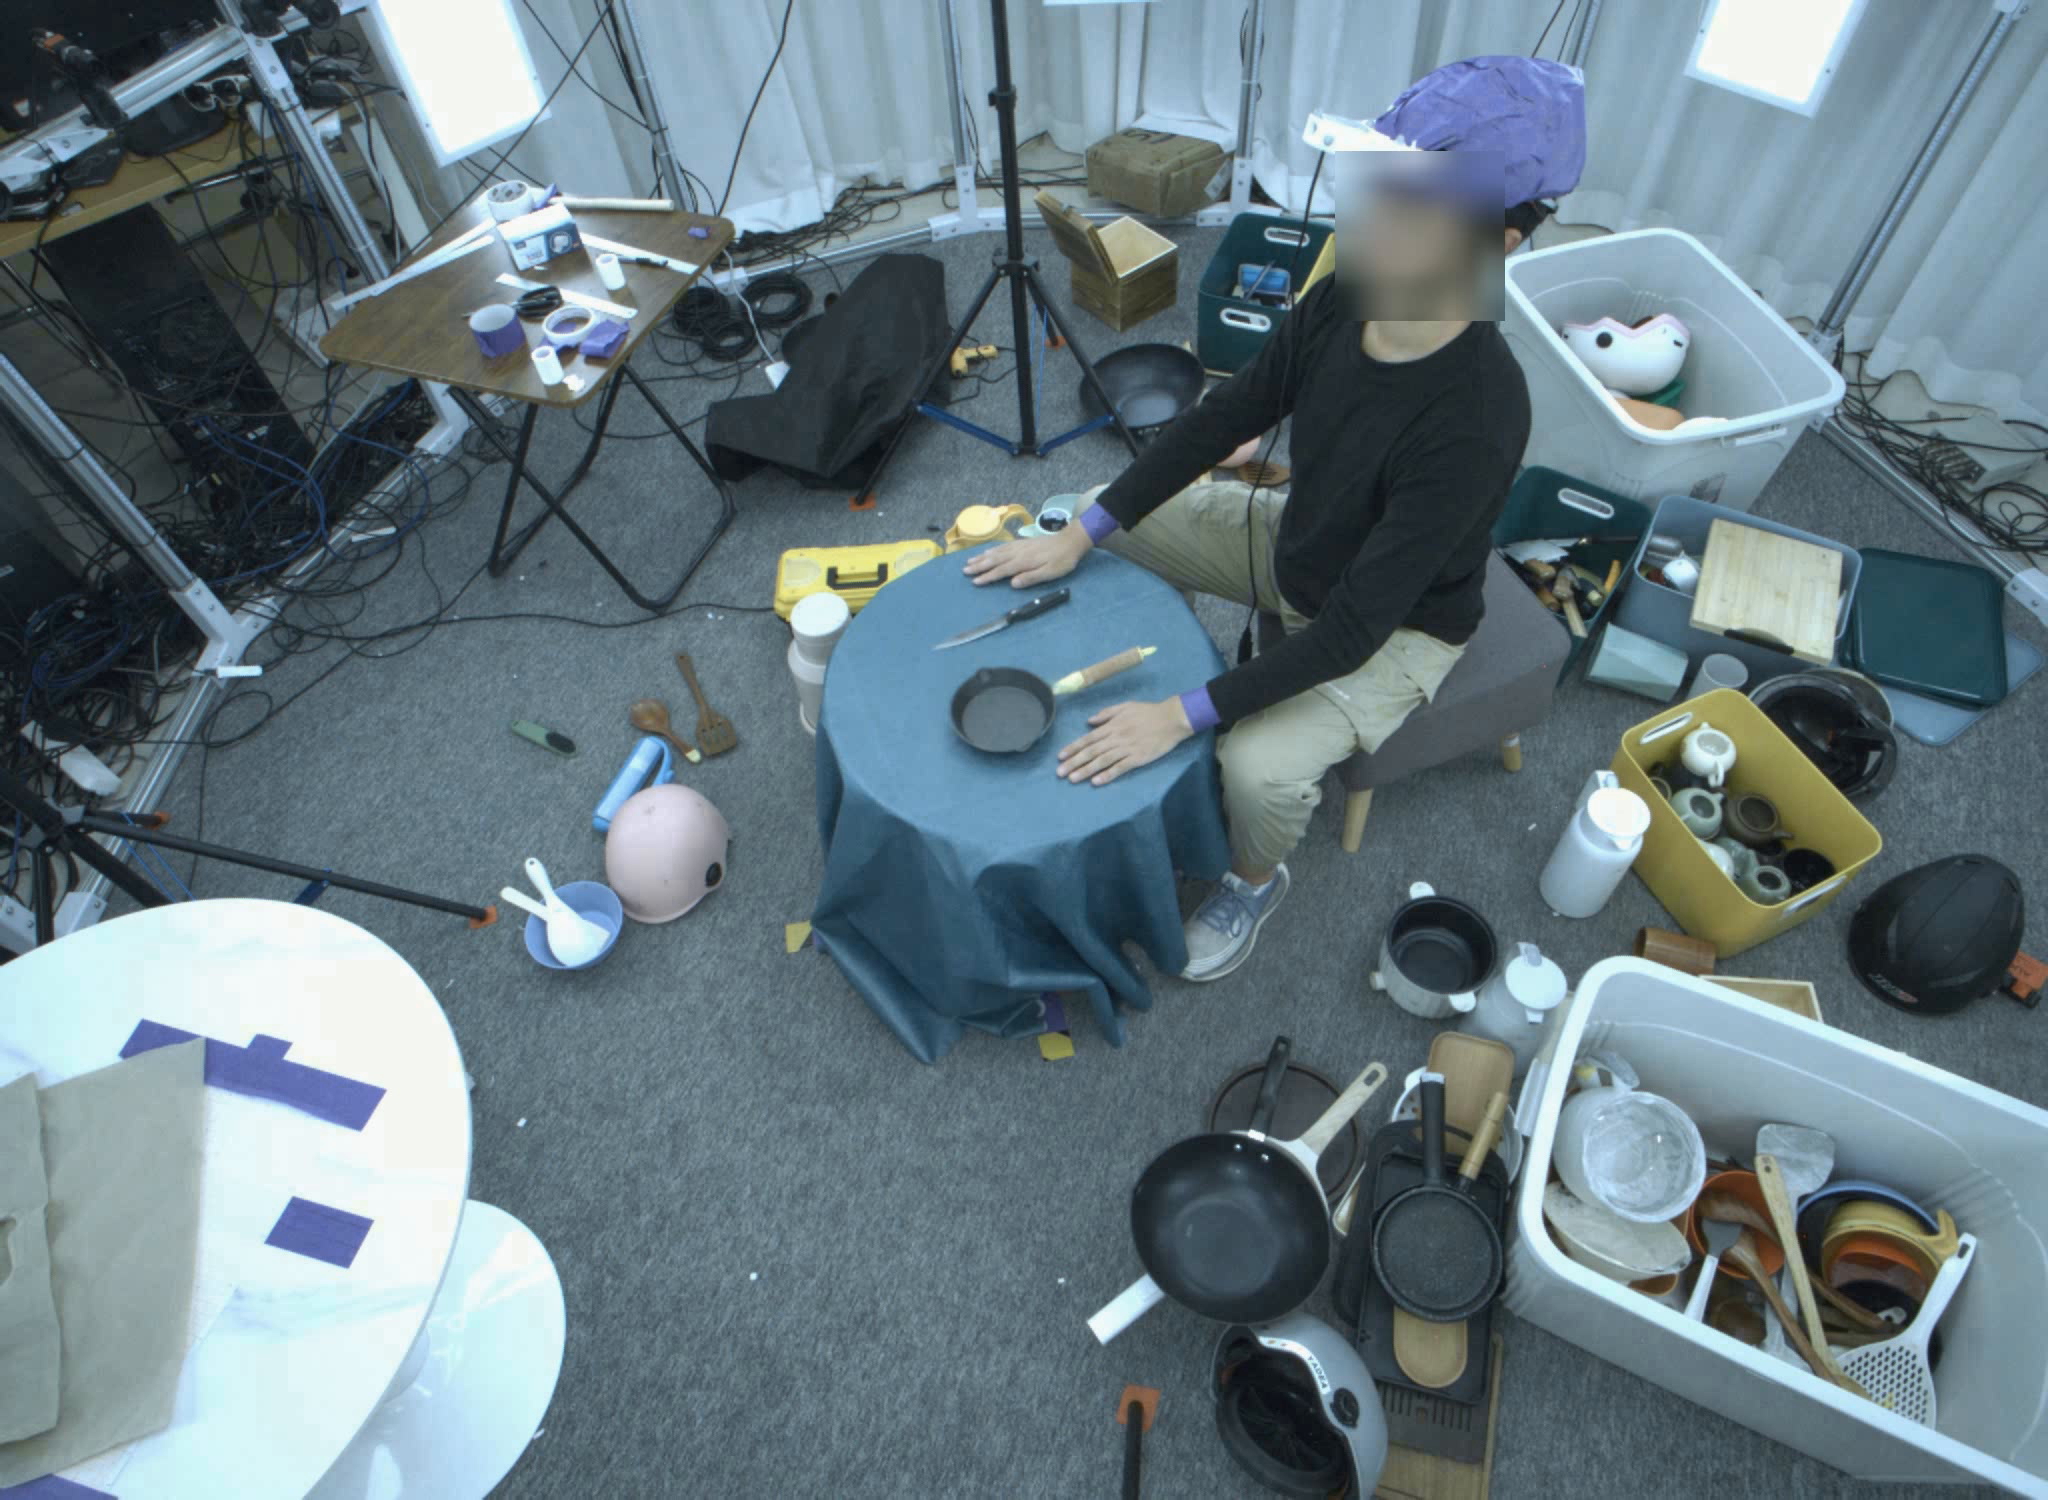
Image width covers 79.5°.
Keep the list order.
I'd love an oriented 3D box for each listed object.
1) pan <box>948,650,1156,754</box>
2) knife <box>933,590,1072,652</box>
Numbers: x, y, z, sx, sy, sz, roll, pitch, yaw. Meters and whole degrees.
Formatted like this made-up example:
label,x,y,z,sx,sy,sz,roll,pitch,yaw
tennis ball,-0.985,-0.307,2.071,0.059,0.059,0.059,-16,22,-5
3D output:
label,x,y,z,sx,sy,sz,roll,pitch,yaw
pan,0.047,-0.085,1.814,0.326,0.050,0.166,-18,56,-12
knife,-0.036,-0.202,1.922,0.239,0.016,0.024,-24,57,-11
